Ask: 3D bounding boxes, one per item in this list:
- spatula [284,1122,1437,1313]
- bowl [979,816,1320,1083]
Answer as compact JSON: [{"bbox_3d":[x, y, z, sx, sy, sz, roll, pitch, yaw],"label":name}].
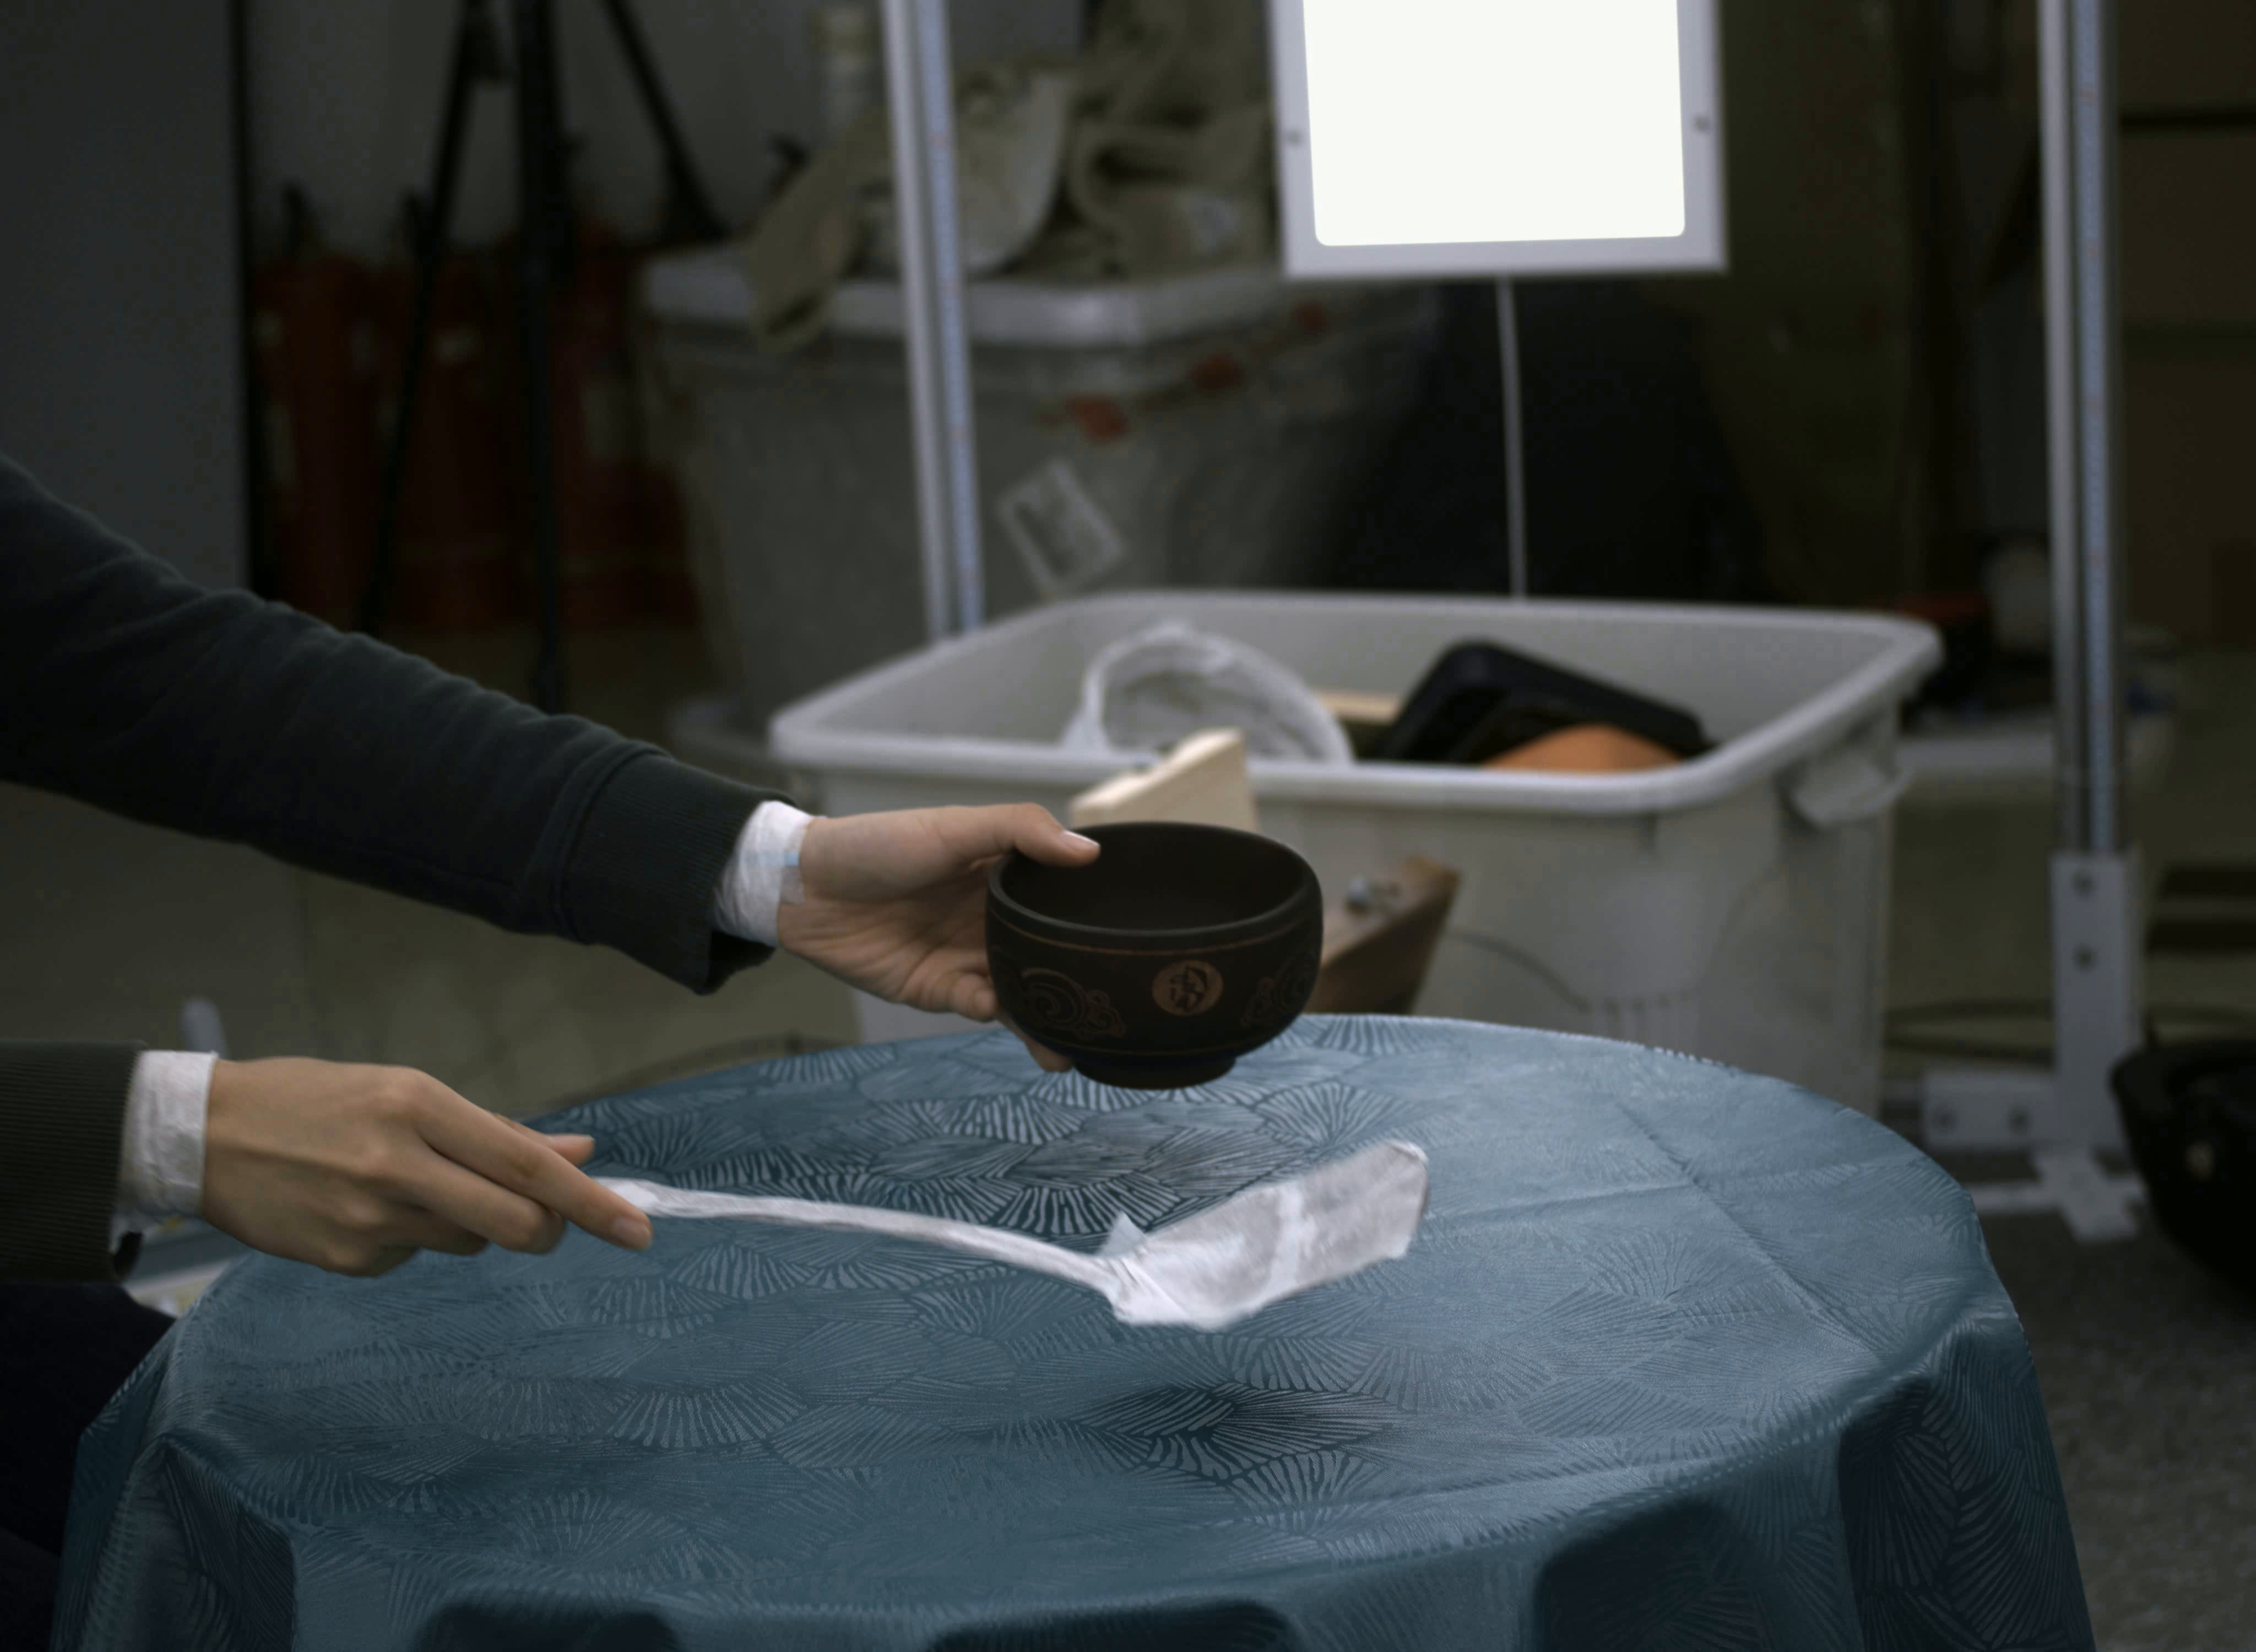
[{"bbox_3d":[-0.088,0.112,1.686,0.367,0.045,0.097,5,23,11],"label":"spatula"},{"bbox_3d":[0.008,0.046,1.892,0.117,0.070,0.118,-2,18,-1],"label":"bowl"}]
